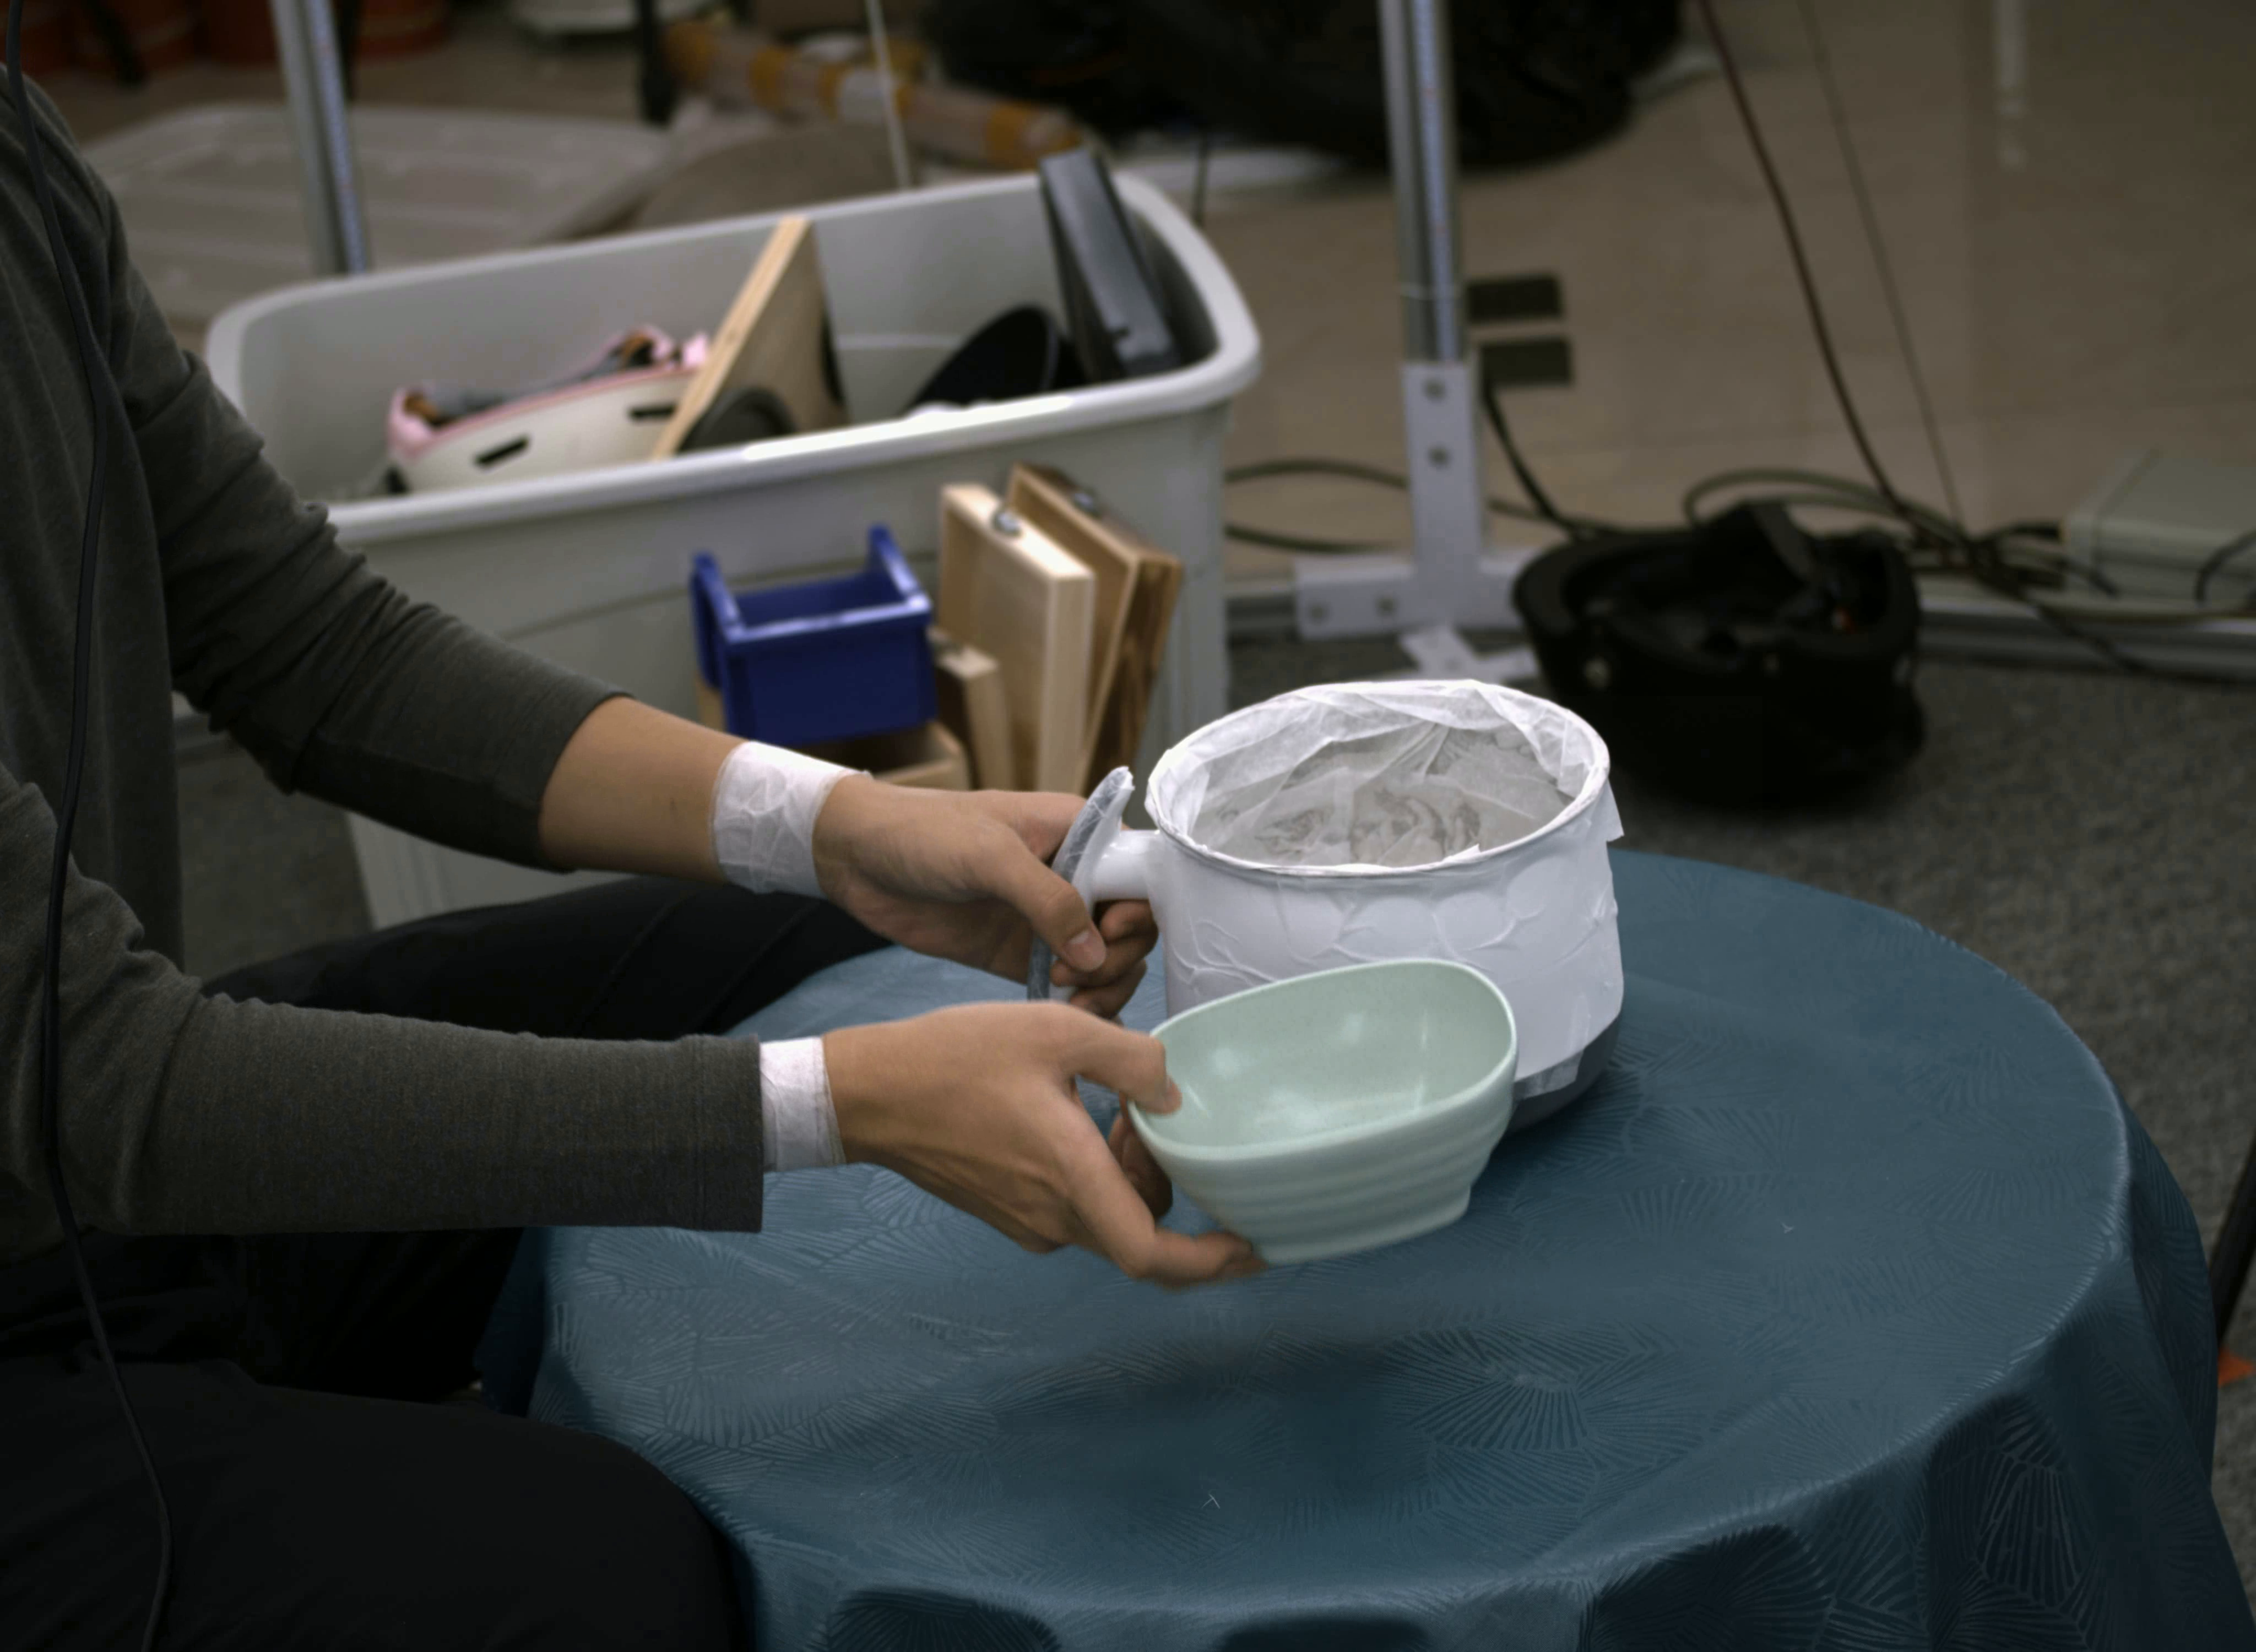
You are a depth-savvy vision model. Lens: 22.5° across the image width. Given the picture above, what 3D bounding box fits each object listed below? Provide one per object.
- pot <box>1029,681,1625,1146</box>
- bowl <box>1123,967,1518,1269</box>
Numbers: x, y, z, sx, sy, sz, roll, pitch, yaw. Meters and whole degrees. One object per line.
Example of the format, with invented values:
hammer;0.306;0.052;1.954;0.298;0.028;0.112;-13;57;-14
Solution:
pot;0.073;0.039;2.185;0.233;0.139;0.176;-2;26;9
bowl;0.071;0.108;1.991;0.151;0.059;0.149;-9;24;4
